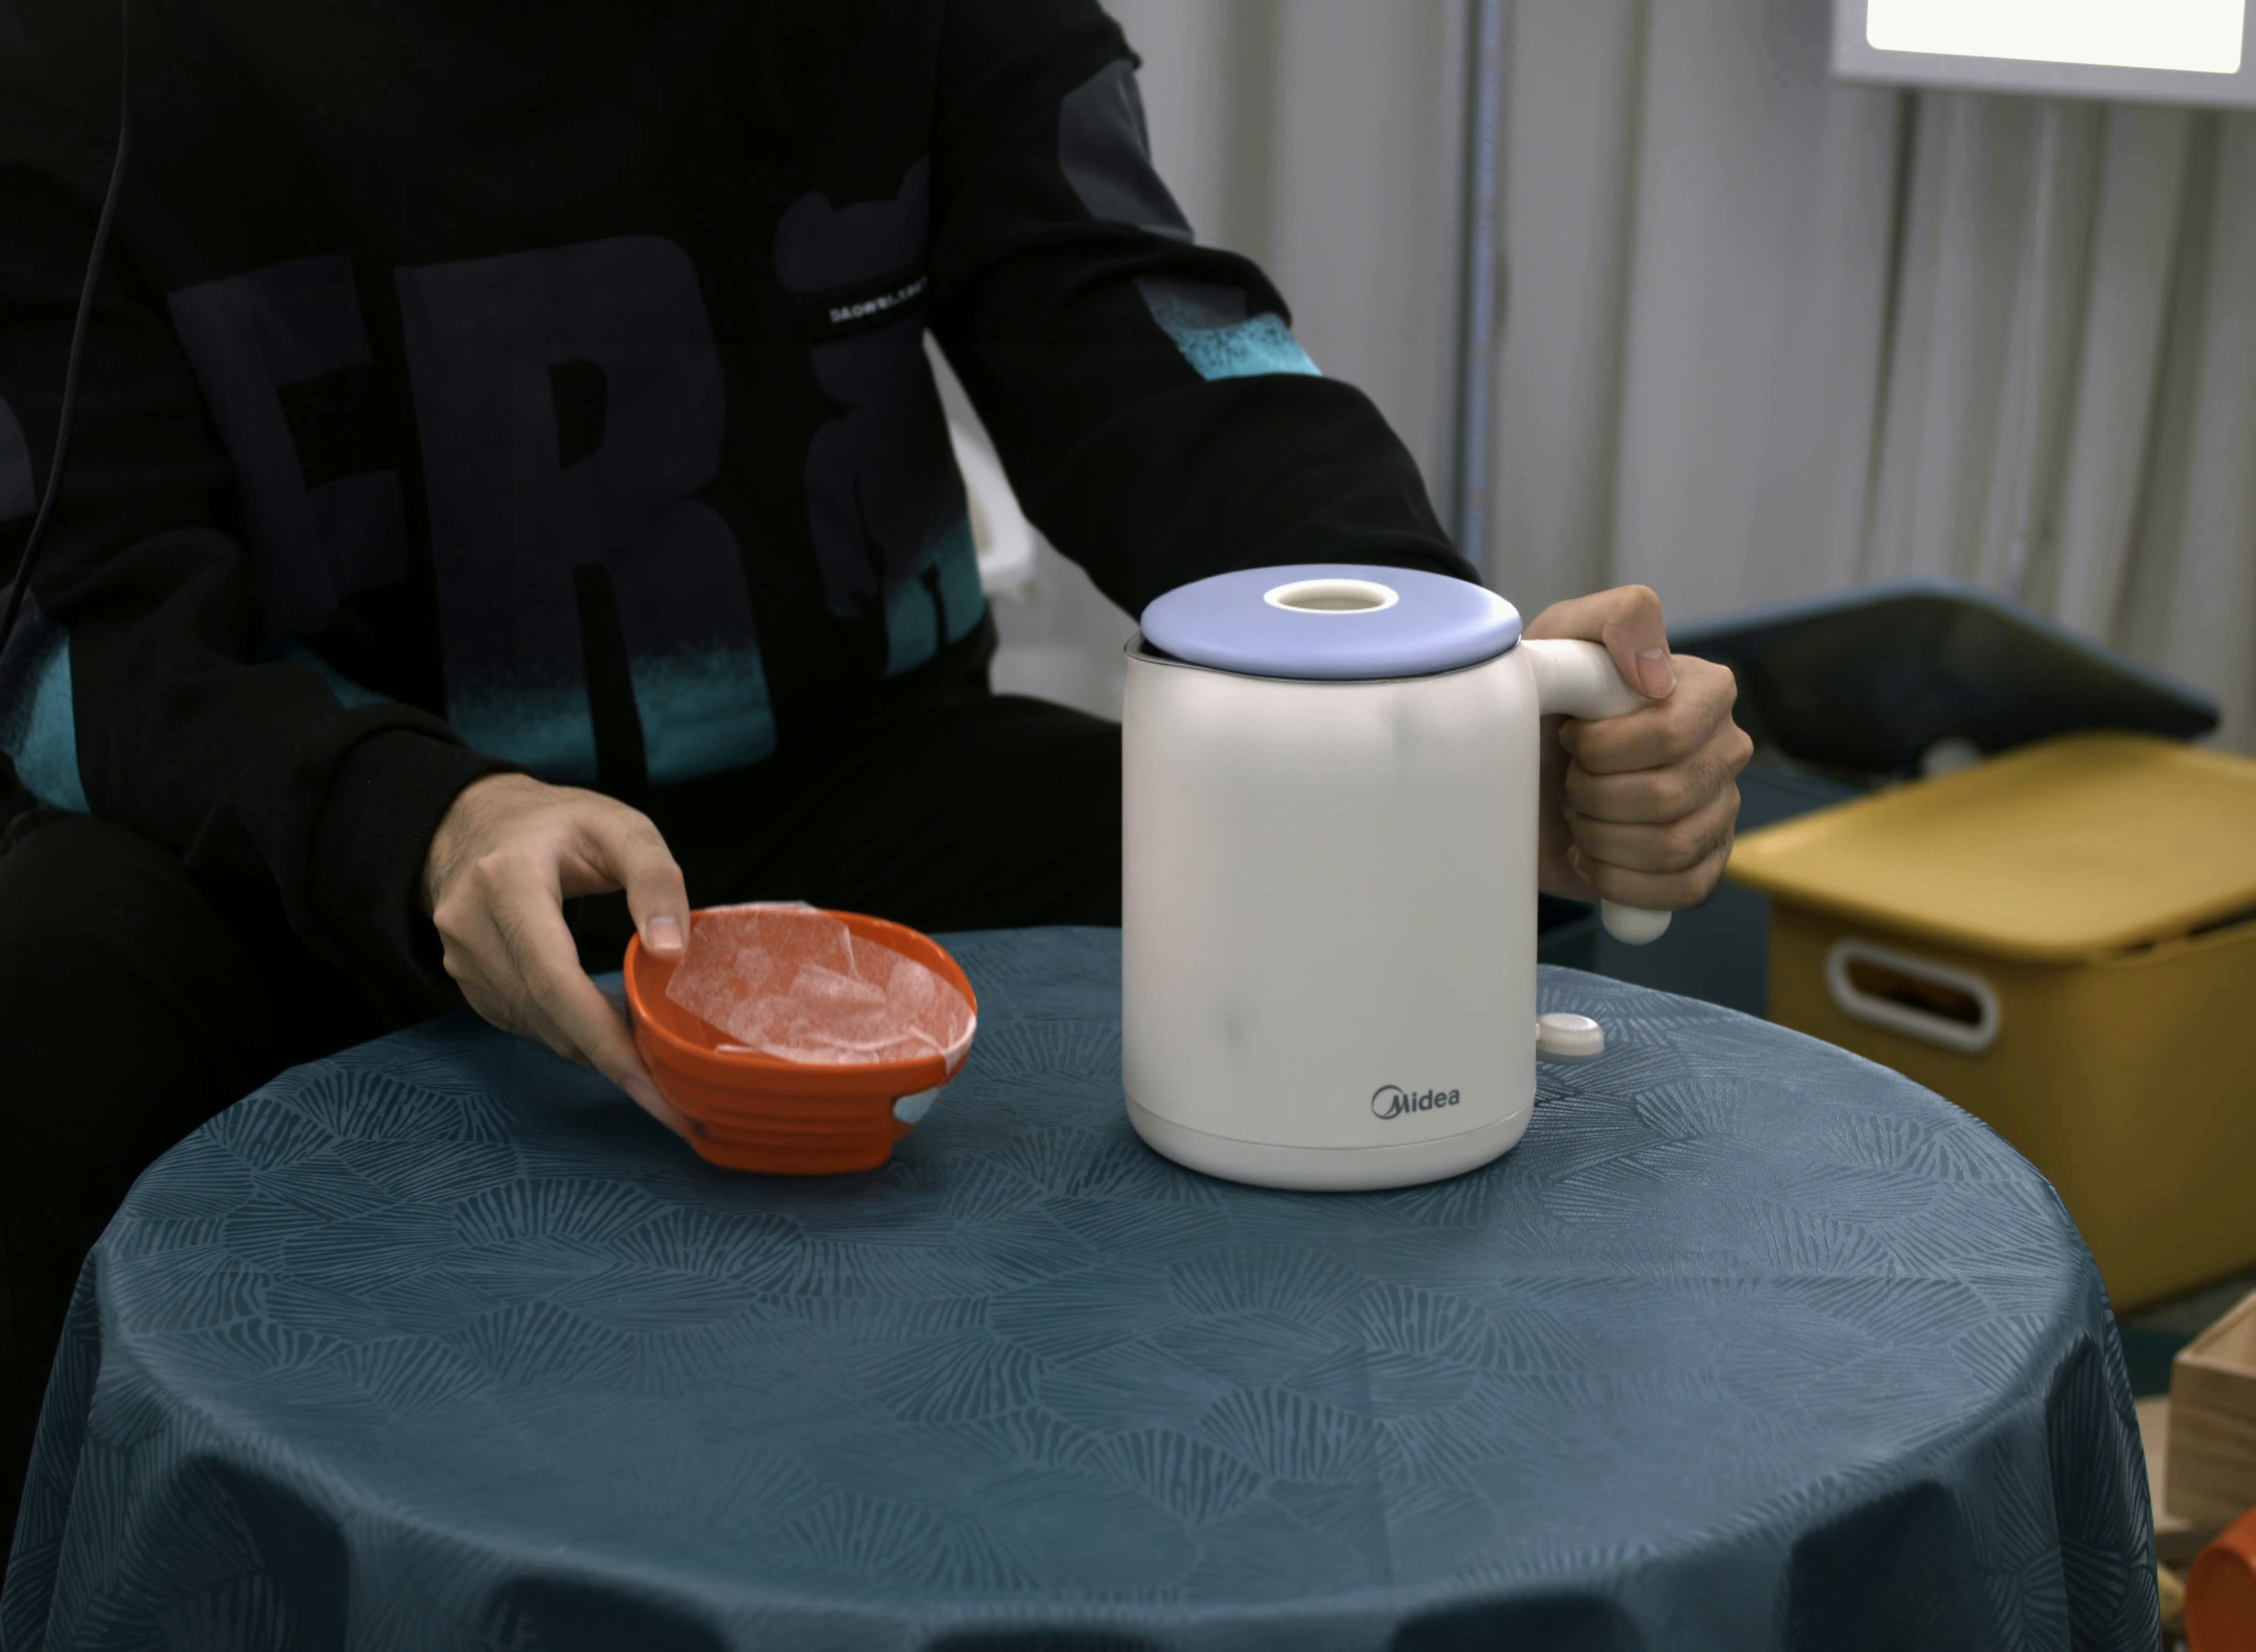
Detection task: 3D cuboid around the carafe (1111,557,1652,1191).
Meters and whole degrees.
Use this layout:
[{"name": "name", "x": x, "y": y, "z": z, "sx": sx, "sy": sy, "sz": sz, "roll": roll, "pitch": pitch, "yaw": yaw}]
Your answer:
[{"name": "carafe", "x": 0.084, "y": 0.012, "z": 1.660, "sx": 0.192, "sy": 0.184, "sz": 0.130, "roll": -5, "pitch": 19, "yaw": -25}]

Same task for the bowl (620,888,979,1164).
[{"name": "bowl", "x": -0.104, "y": 0.067, "z": 1.642, "sx": 0.118, "sy": 0.052, "sz": 0.118, "roll": 6, "pitch": 28, "yaw": -2}]
